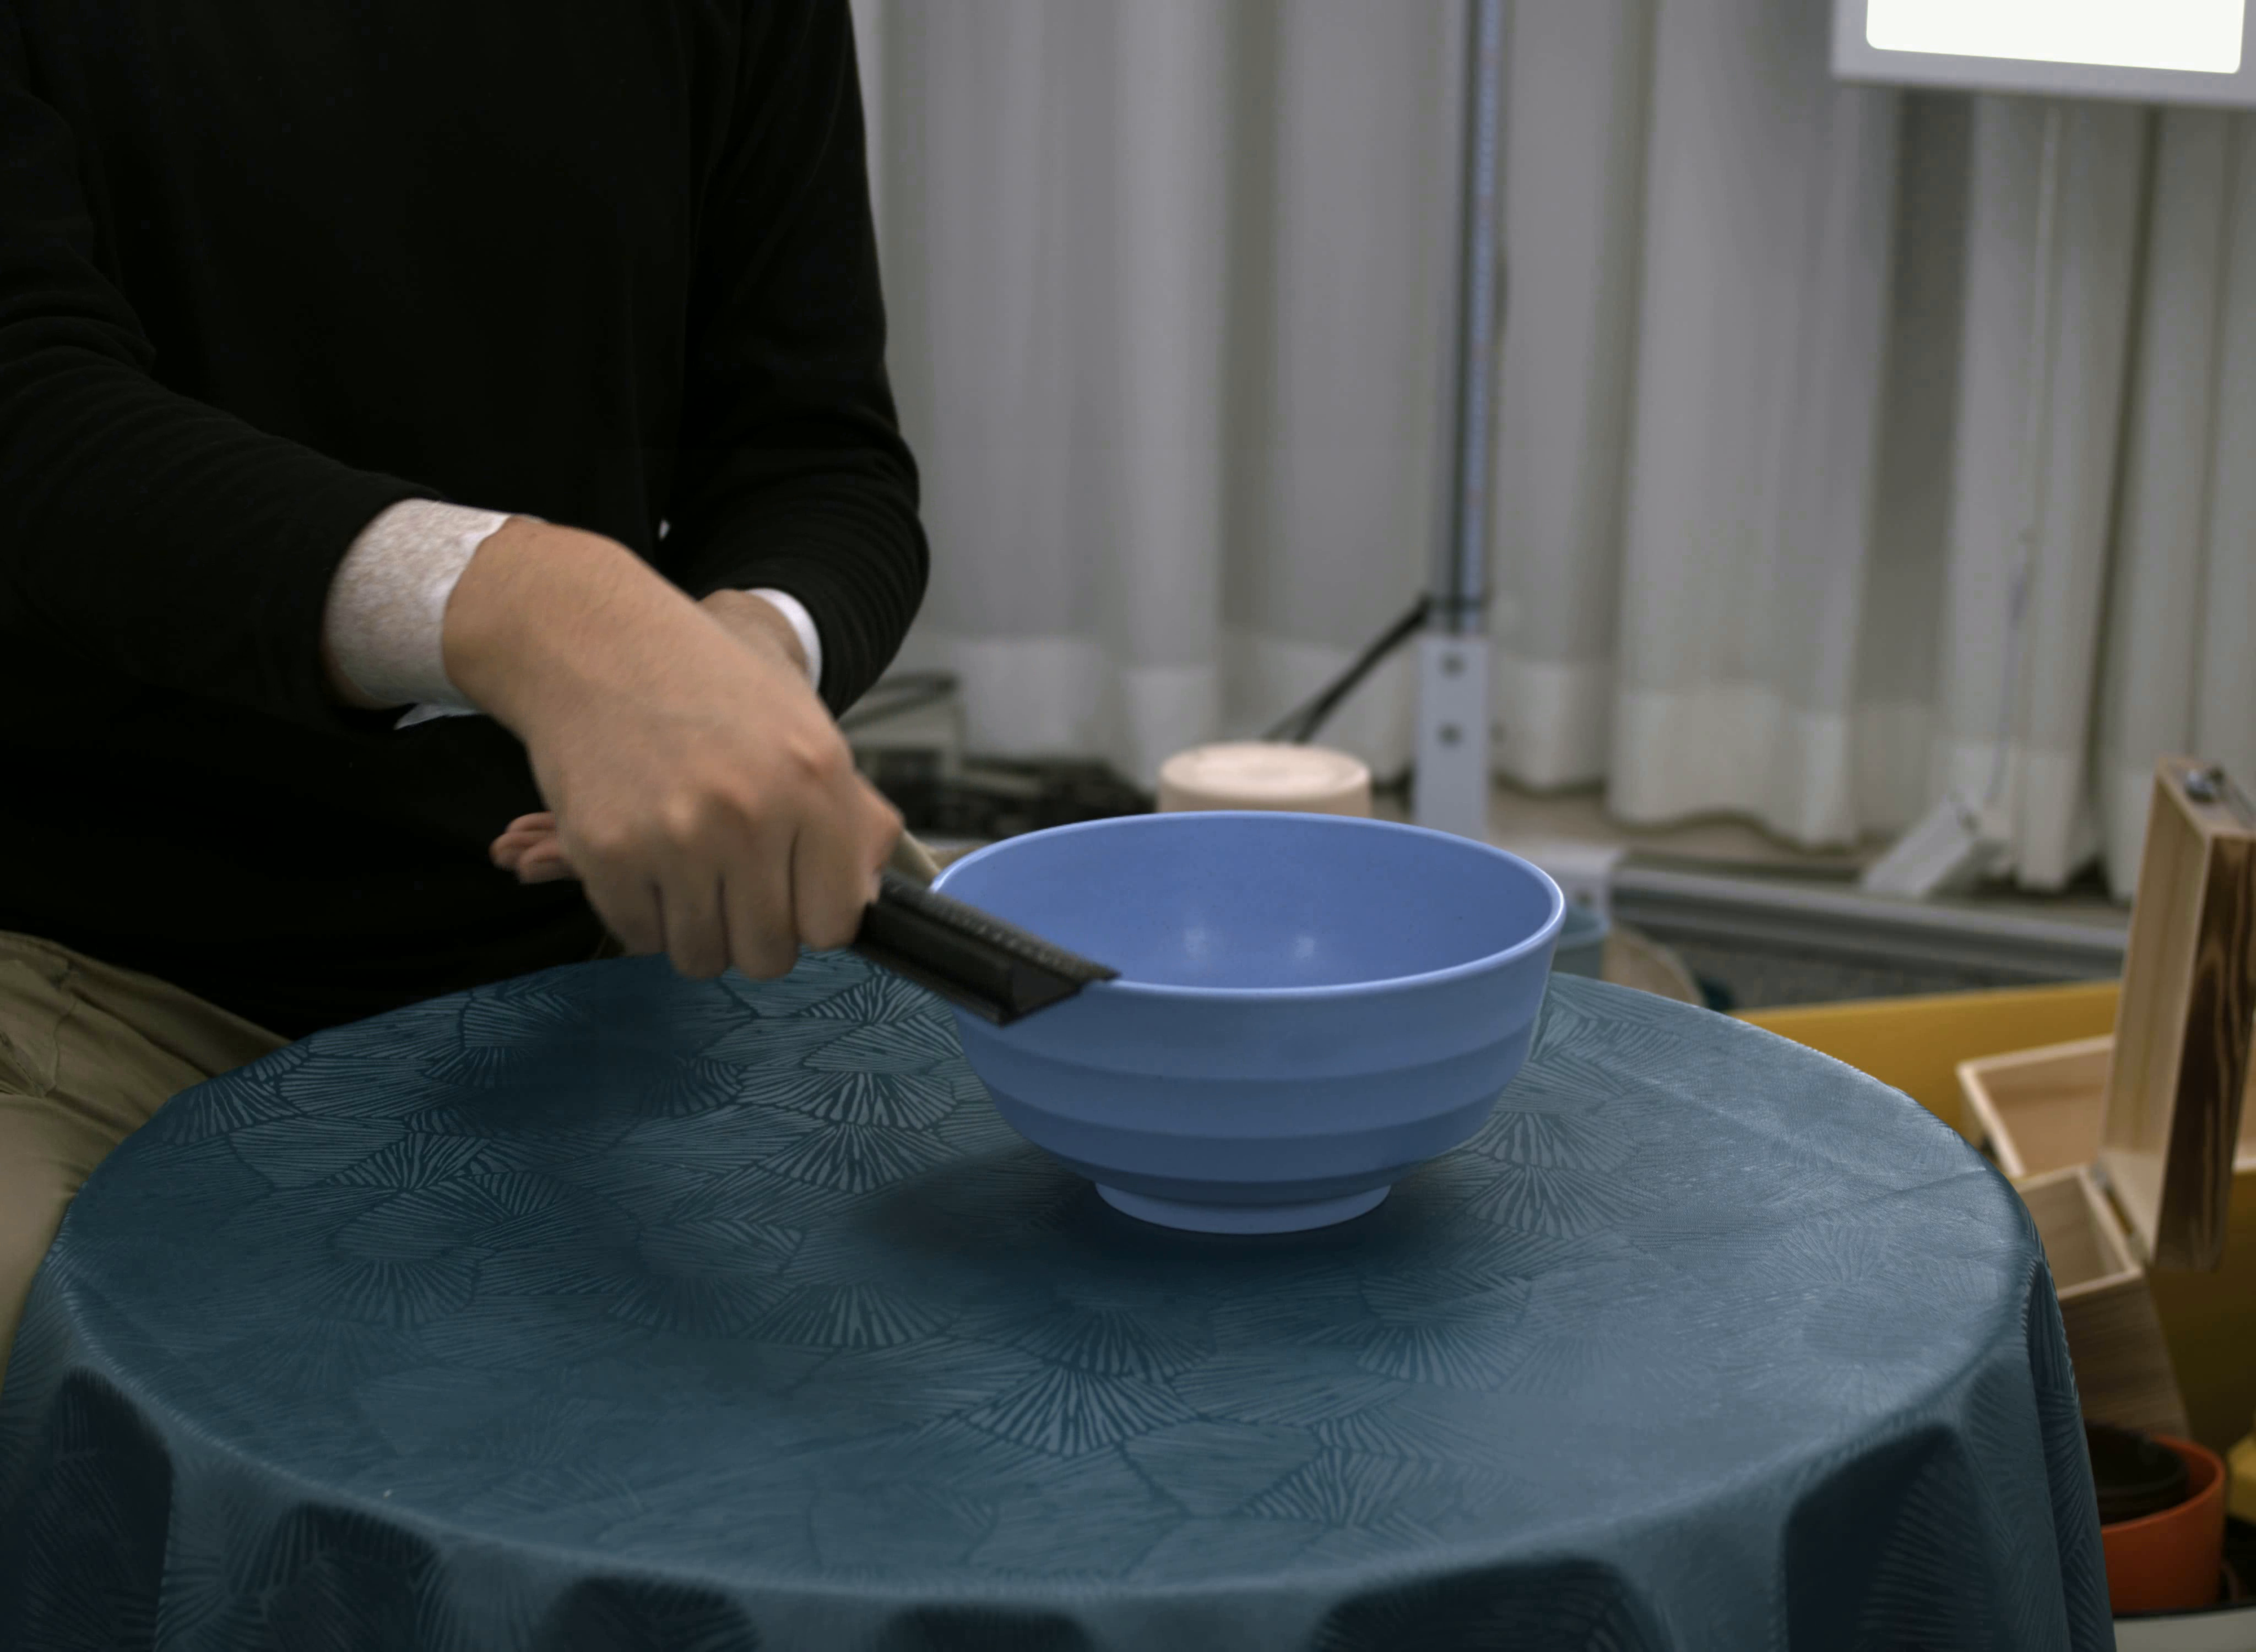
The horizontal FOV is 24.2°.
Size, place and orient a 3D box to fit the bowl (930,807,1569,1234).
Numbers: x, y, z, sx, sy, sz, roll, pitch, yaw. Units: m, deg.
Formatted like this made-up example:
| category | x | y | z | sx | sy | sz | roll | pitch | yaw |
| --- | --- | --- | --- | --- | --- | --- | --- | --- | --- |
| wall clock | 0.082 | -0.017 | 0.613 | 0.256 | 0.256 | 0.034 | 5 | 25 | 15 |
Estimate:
| category | x | y | z | sx | sy | sz | roll | pitch | yaw |
| --- | --- | --- | --- | --- | --- | --- | --- | --- | --- |
| bowl | 0.035 | 0.065 | 1.612 | 0.196 | 0.096 | 0.195 | 1 | 16 | 0 |

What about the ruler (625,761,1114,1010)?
| category | x | y | z | sx | sy | sz | roll | pitch | yaw |
| --- | --- | --- | --- | --- | --- | --- | --- | --- | --- |
| ruler | -0.082 | 0.009 | 1.536 | 0.039 | 0.017 | 0.309 | -17 | 17 | -20 |
